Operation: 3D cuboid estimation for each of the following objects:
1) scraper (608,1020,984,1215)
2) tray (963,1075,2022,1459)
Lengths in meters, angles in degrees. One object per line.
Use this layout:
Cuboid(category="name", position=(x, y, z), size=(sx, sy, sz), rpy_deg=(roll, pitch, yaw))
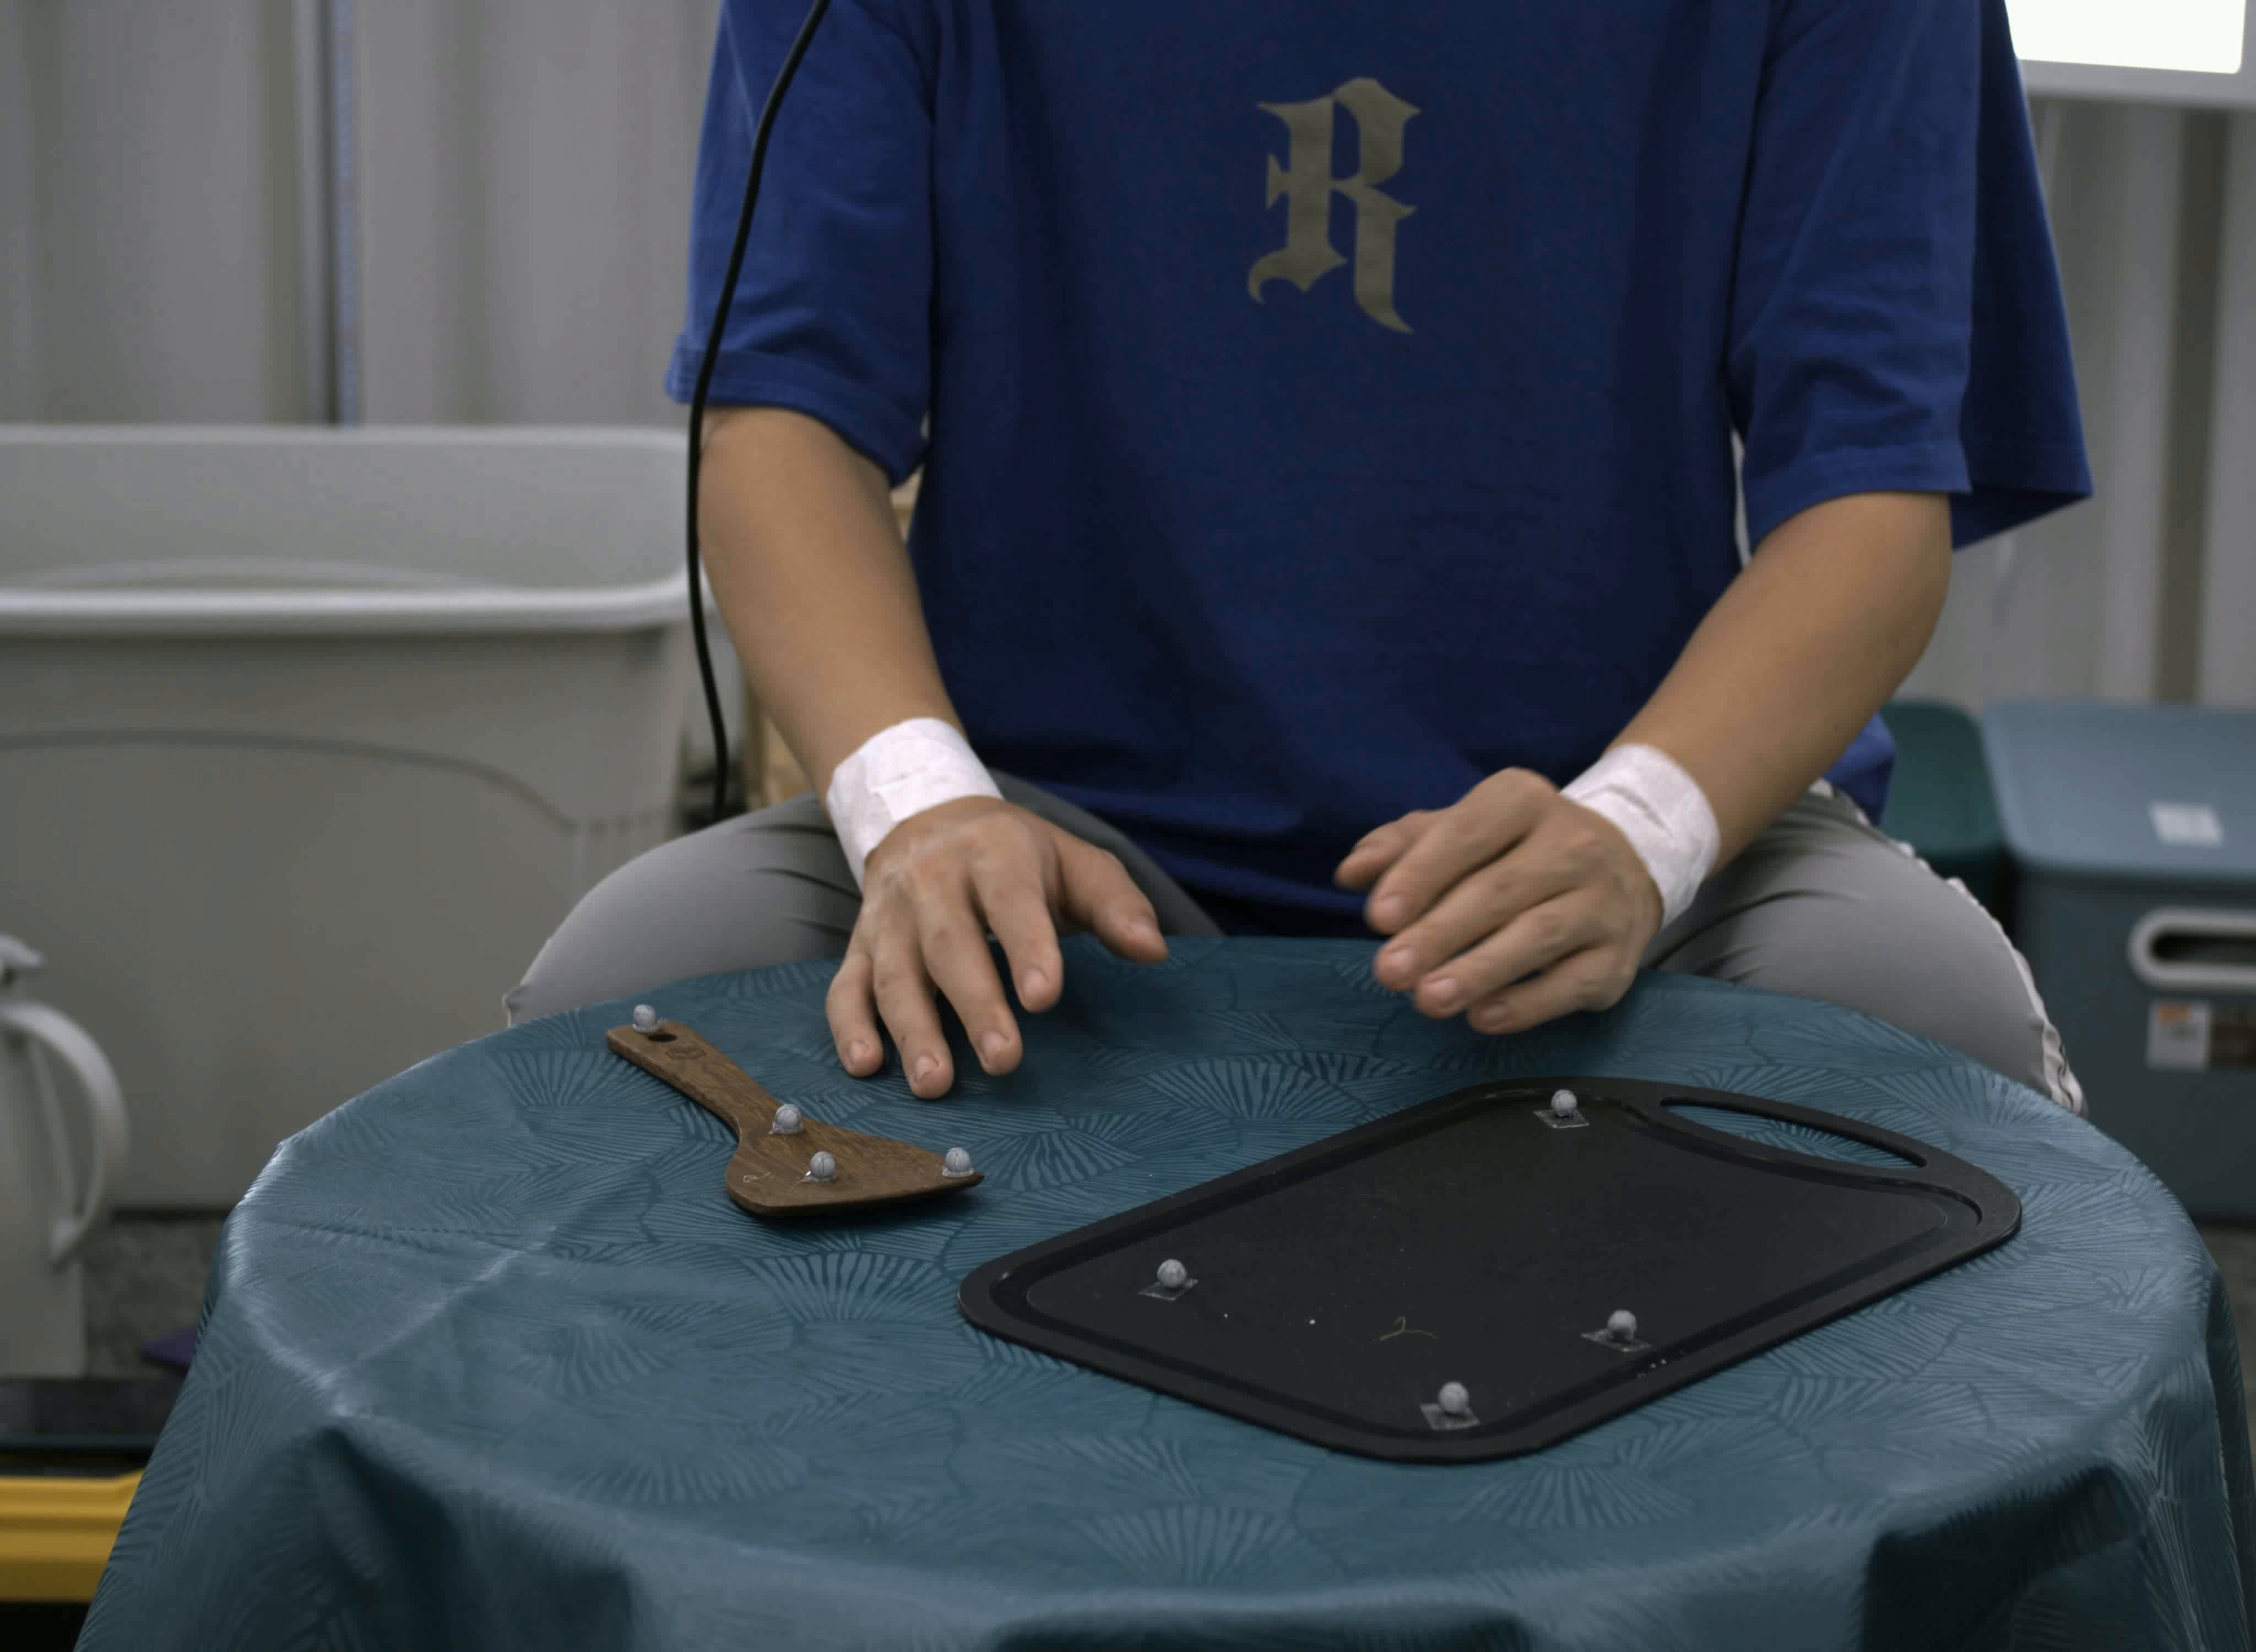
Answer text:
Cuboid(category="scraper", position=(-0.118, 0.092, 1.677), size=(0.076, 0.011, 0.209), rpy_deg=(-6, 16, -25))
Cuboid(category="tray", position=(0.117, 0.123, 1.577), size=(0.208, 0.010, 0.327), rpy_deg=(14, 20, 40))
